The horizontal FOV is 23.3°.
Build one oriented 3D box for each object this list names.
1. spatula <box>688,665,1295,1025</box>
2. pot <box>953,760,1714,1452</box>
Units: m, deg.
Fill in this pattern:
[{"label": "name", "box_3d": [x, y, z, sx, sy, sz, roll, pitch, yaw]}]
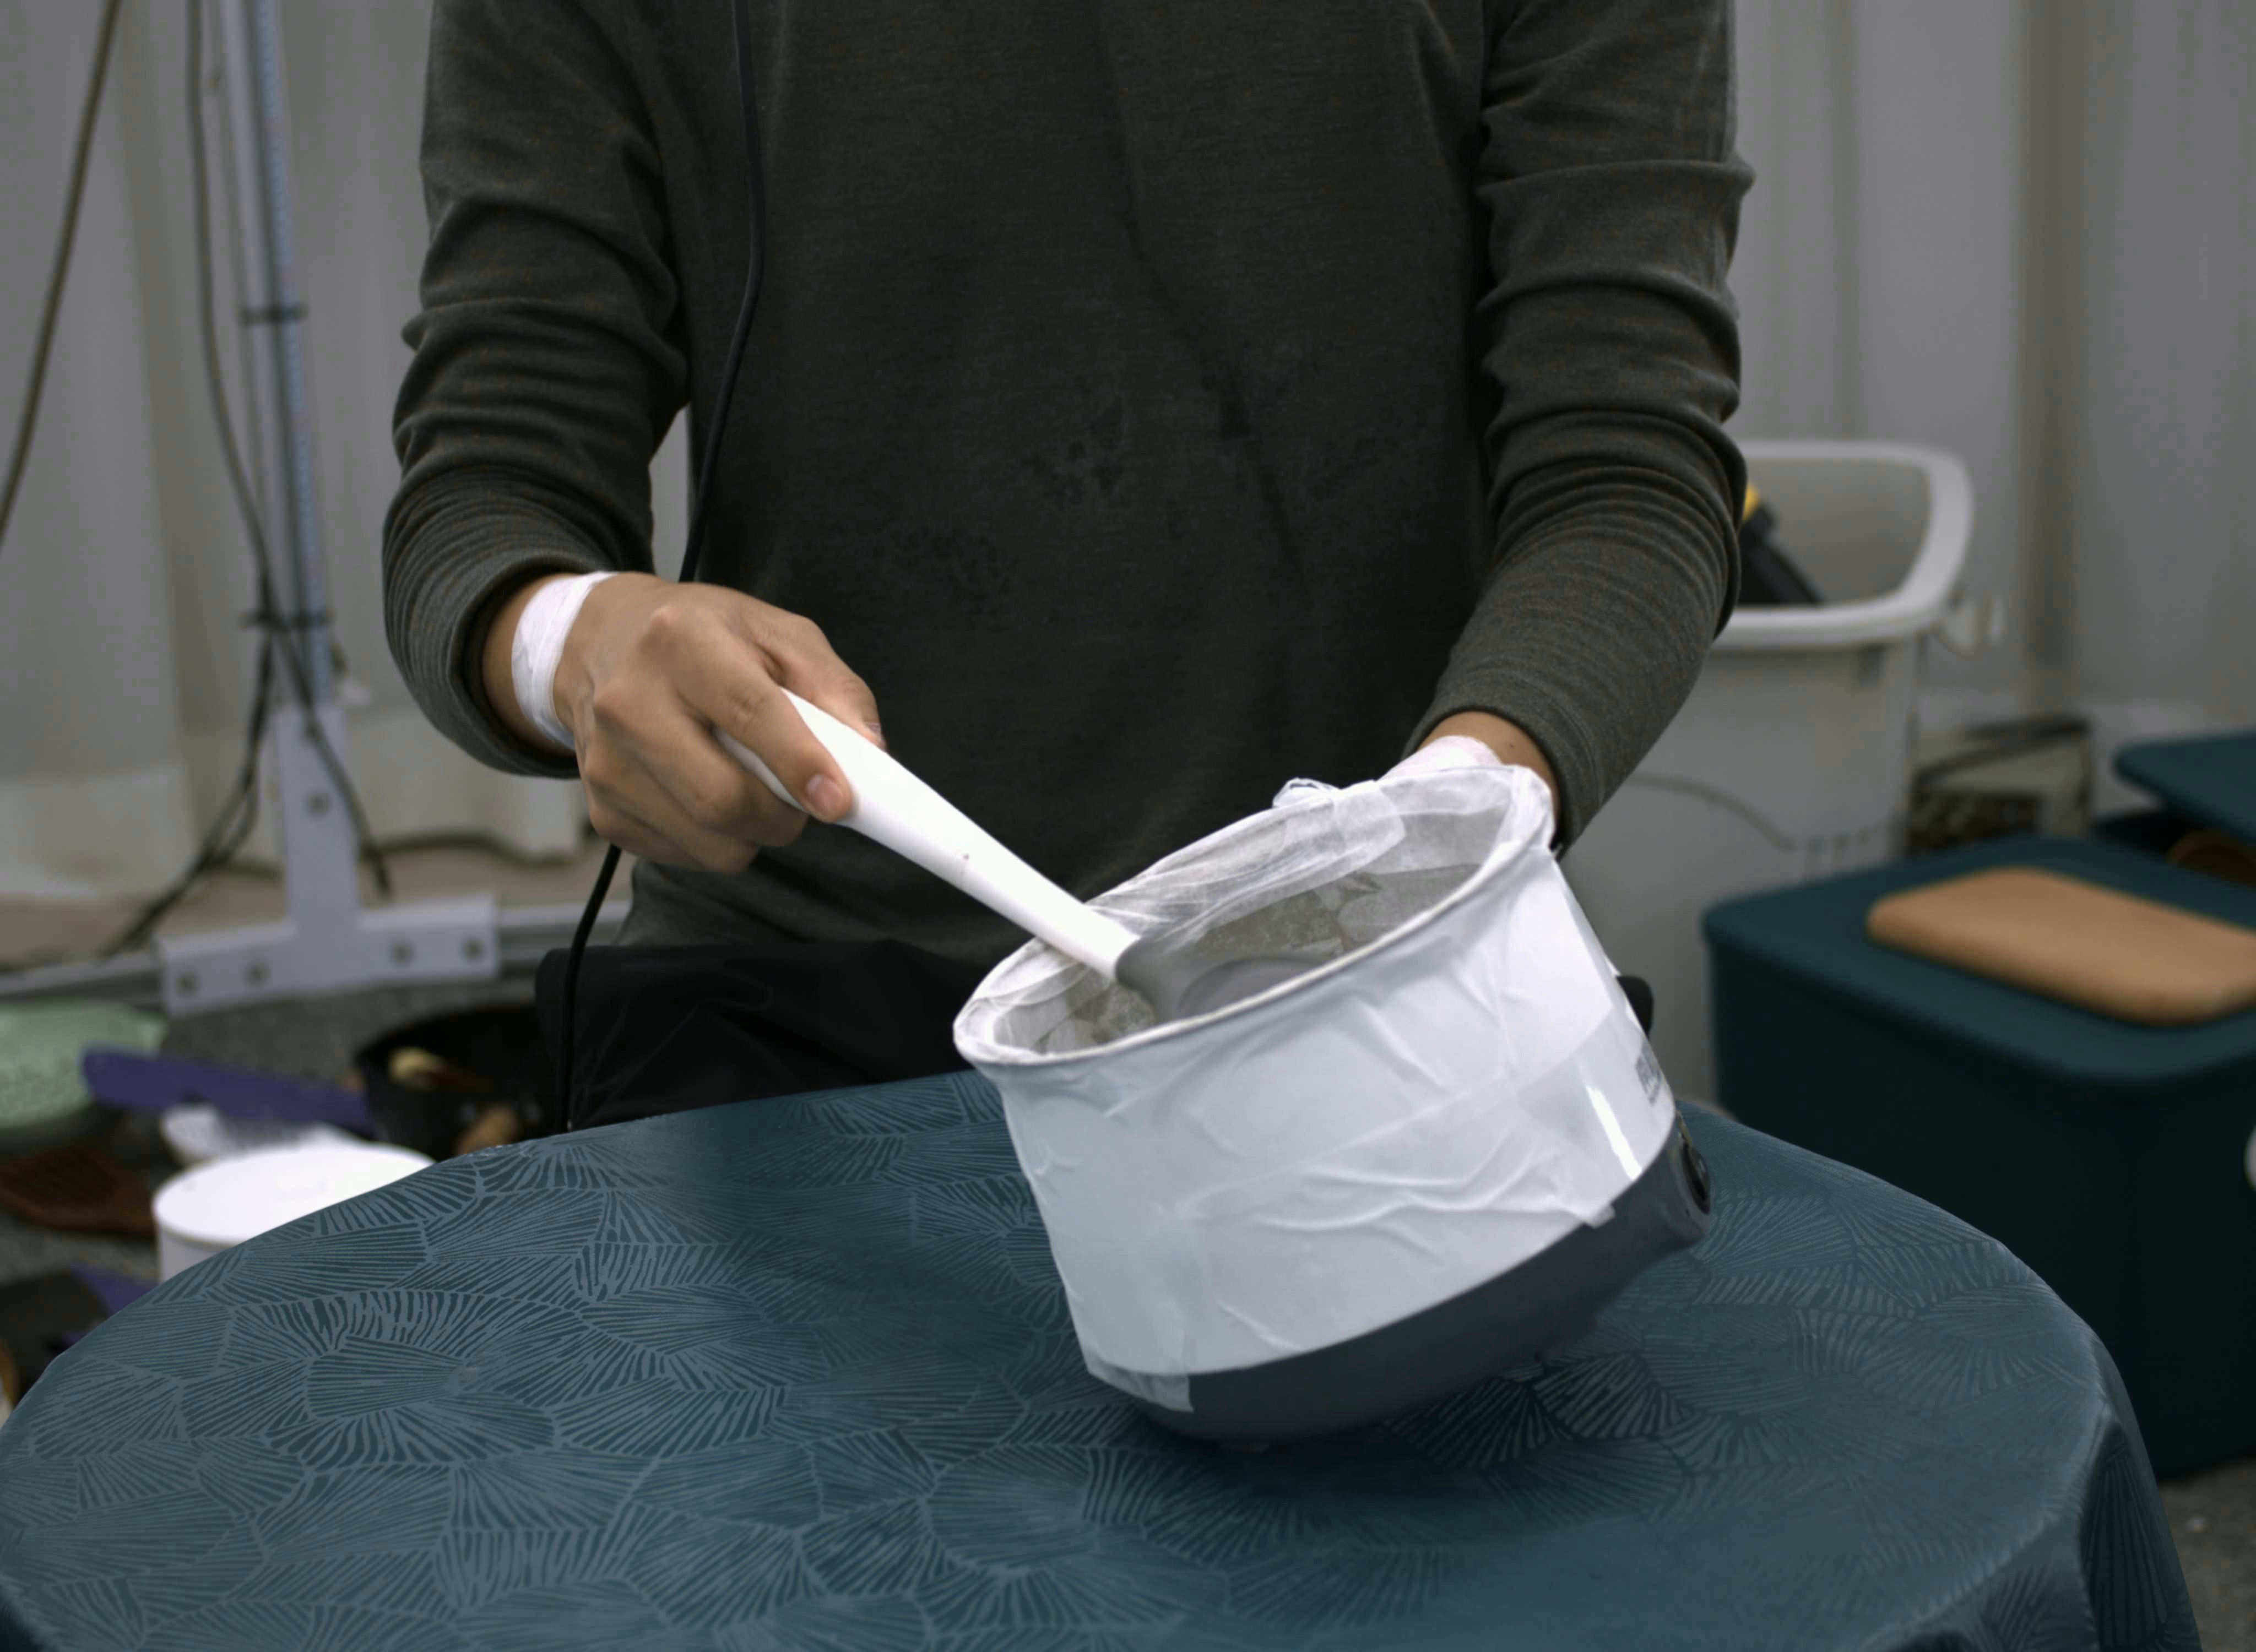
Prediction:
[{"label": "spatula", "box_3d": [-0.027, 0.018, 1.557, 0.059, 0.032, 0.290, -34, 41, -27]}, {"label": "pot", "box_3d": [0.062, 0.070, 1.537, 0.178, 0.136, 0.235, -20, 13, 15]}]
